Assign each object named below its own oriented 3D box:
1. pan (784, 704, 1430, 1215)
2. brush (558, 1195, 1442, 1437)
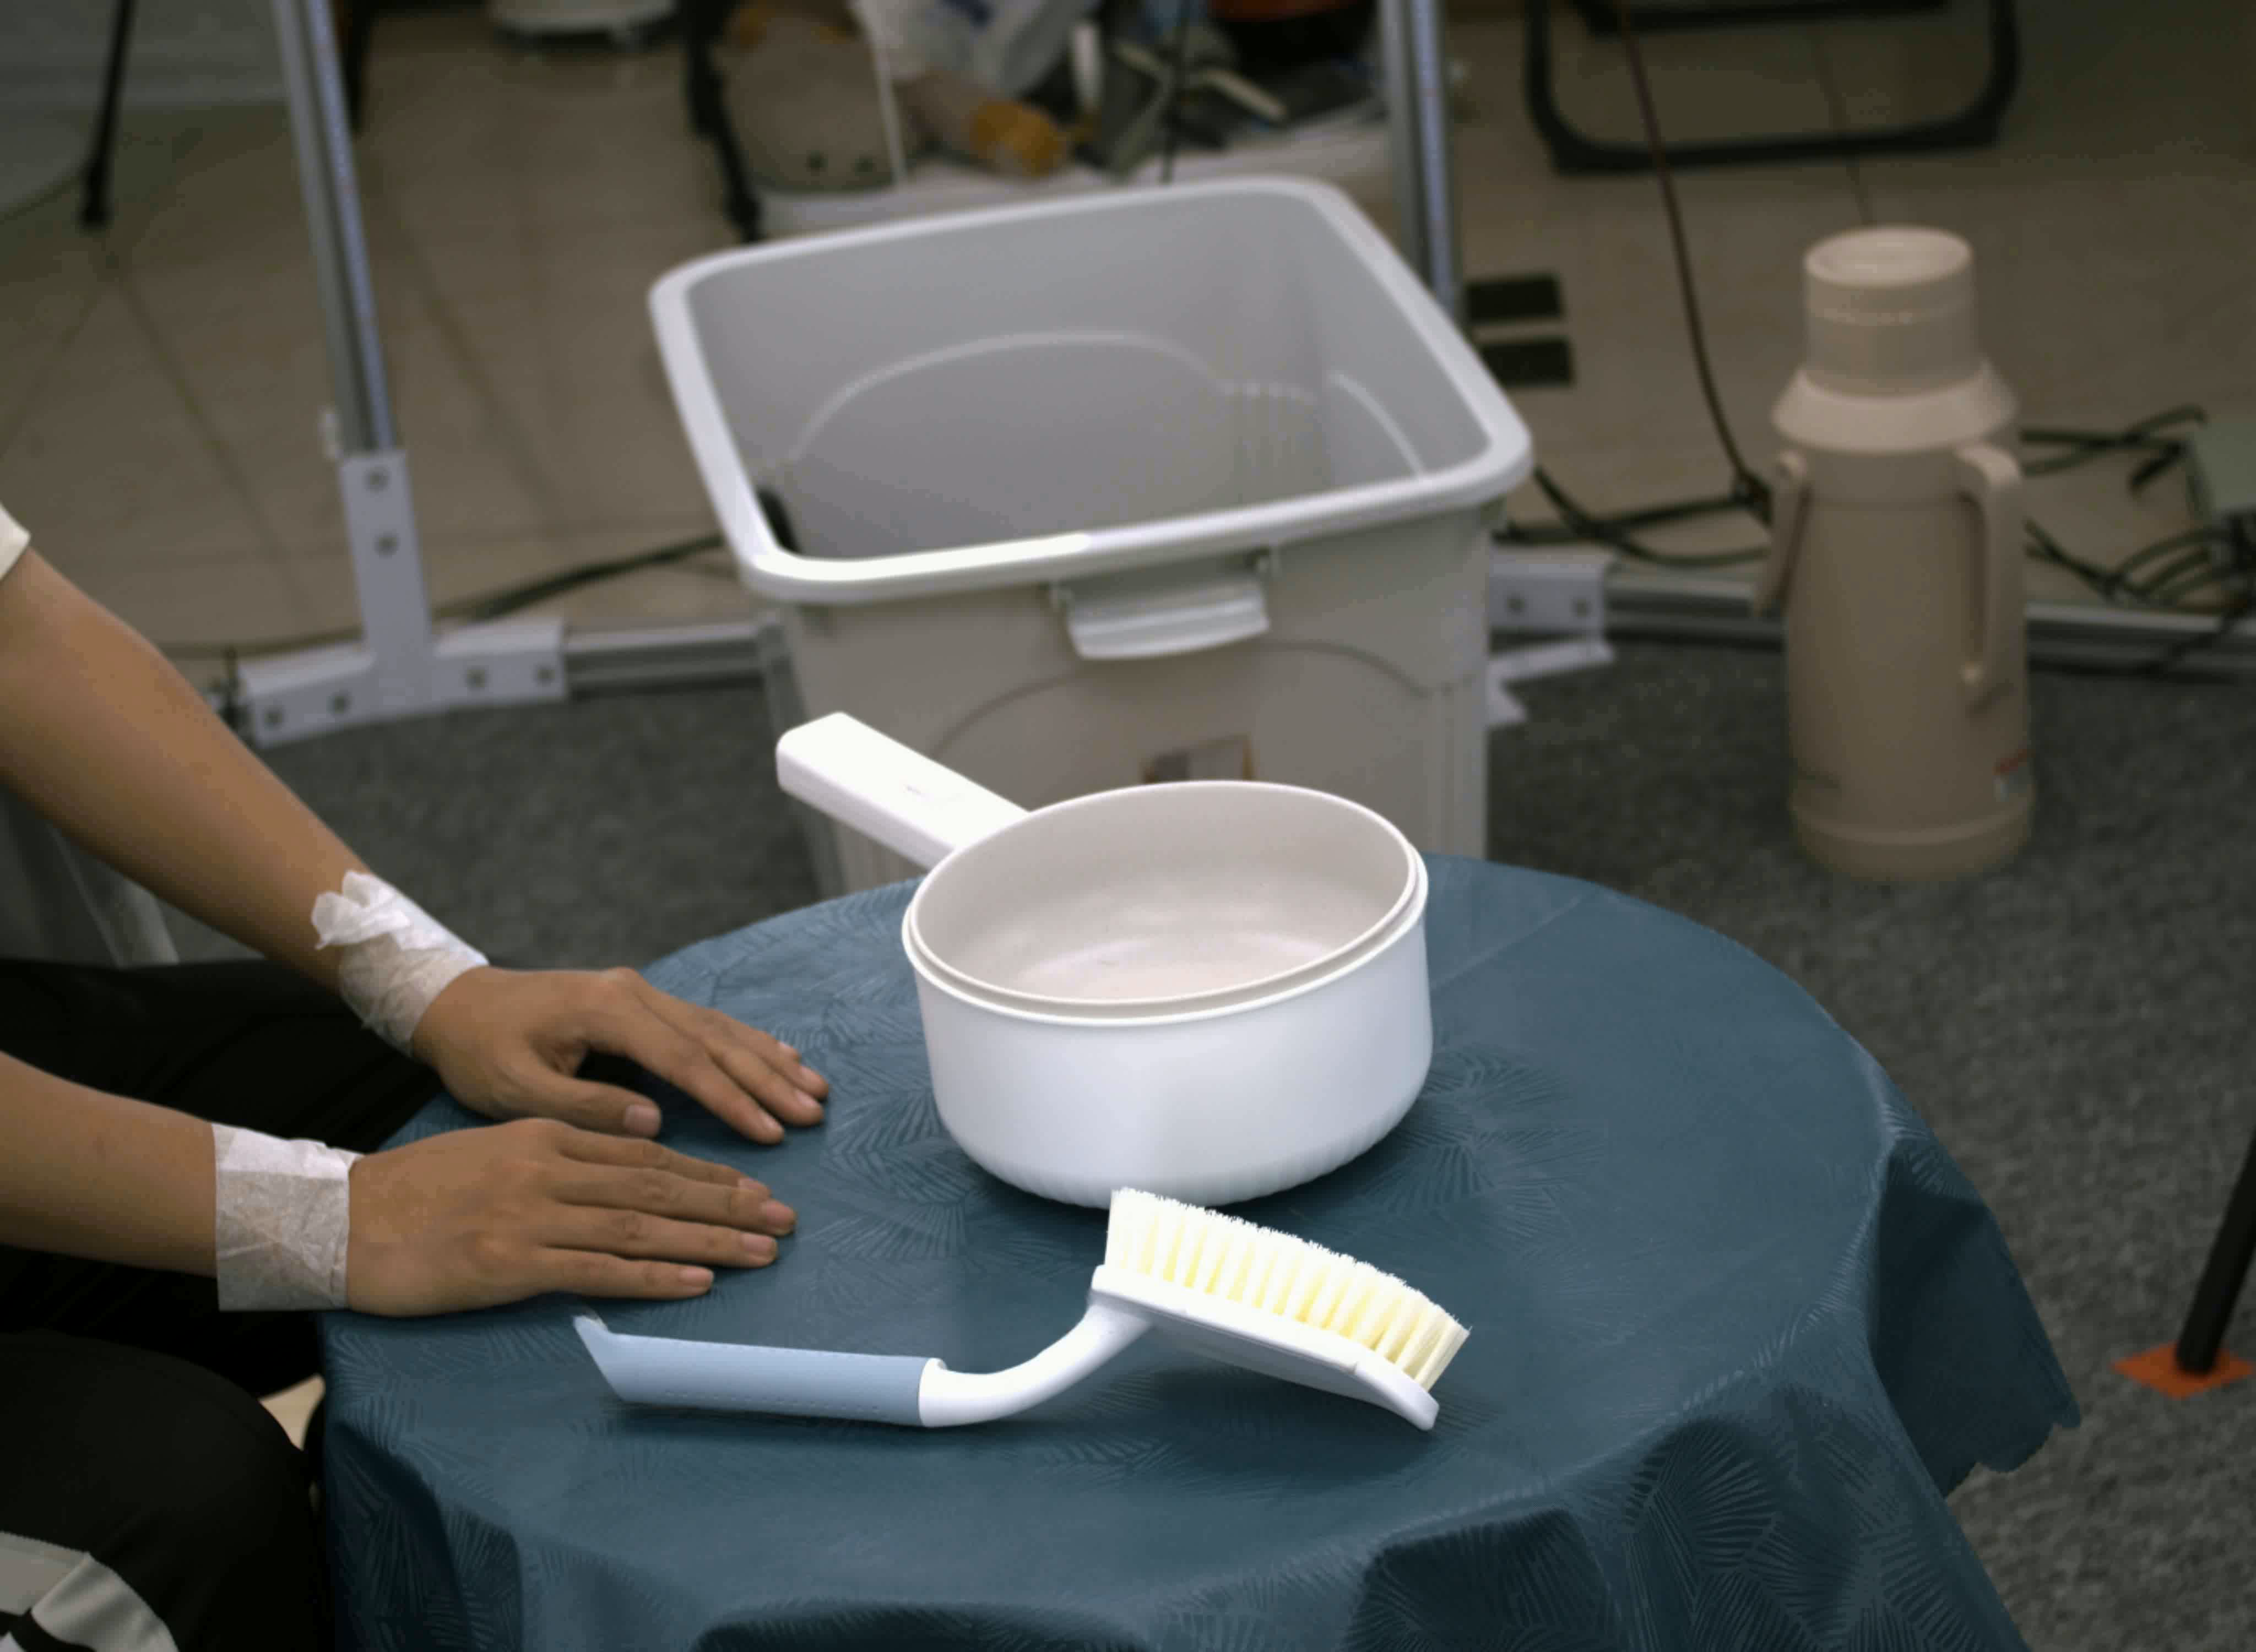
[{"bbox_3d":[-0.026,0.046,2.234,0.200,0.104,0.351,-21,28,-29],"label":"pan"},{"bbox_3d":[-0.047,0.164,2.010,0.324,0.084,0.083,3,34,17],"label":"brush"}]
